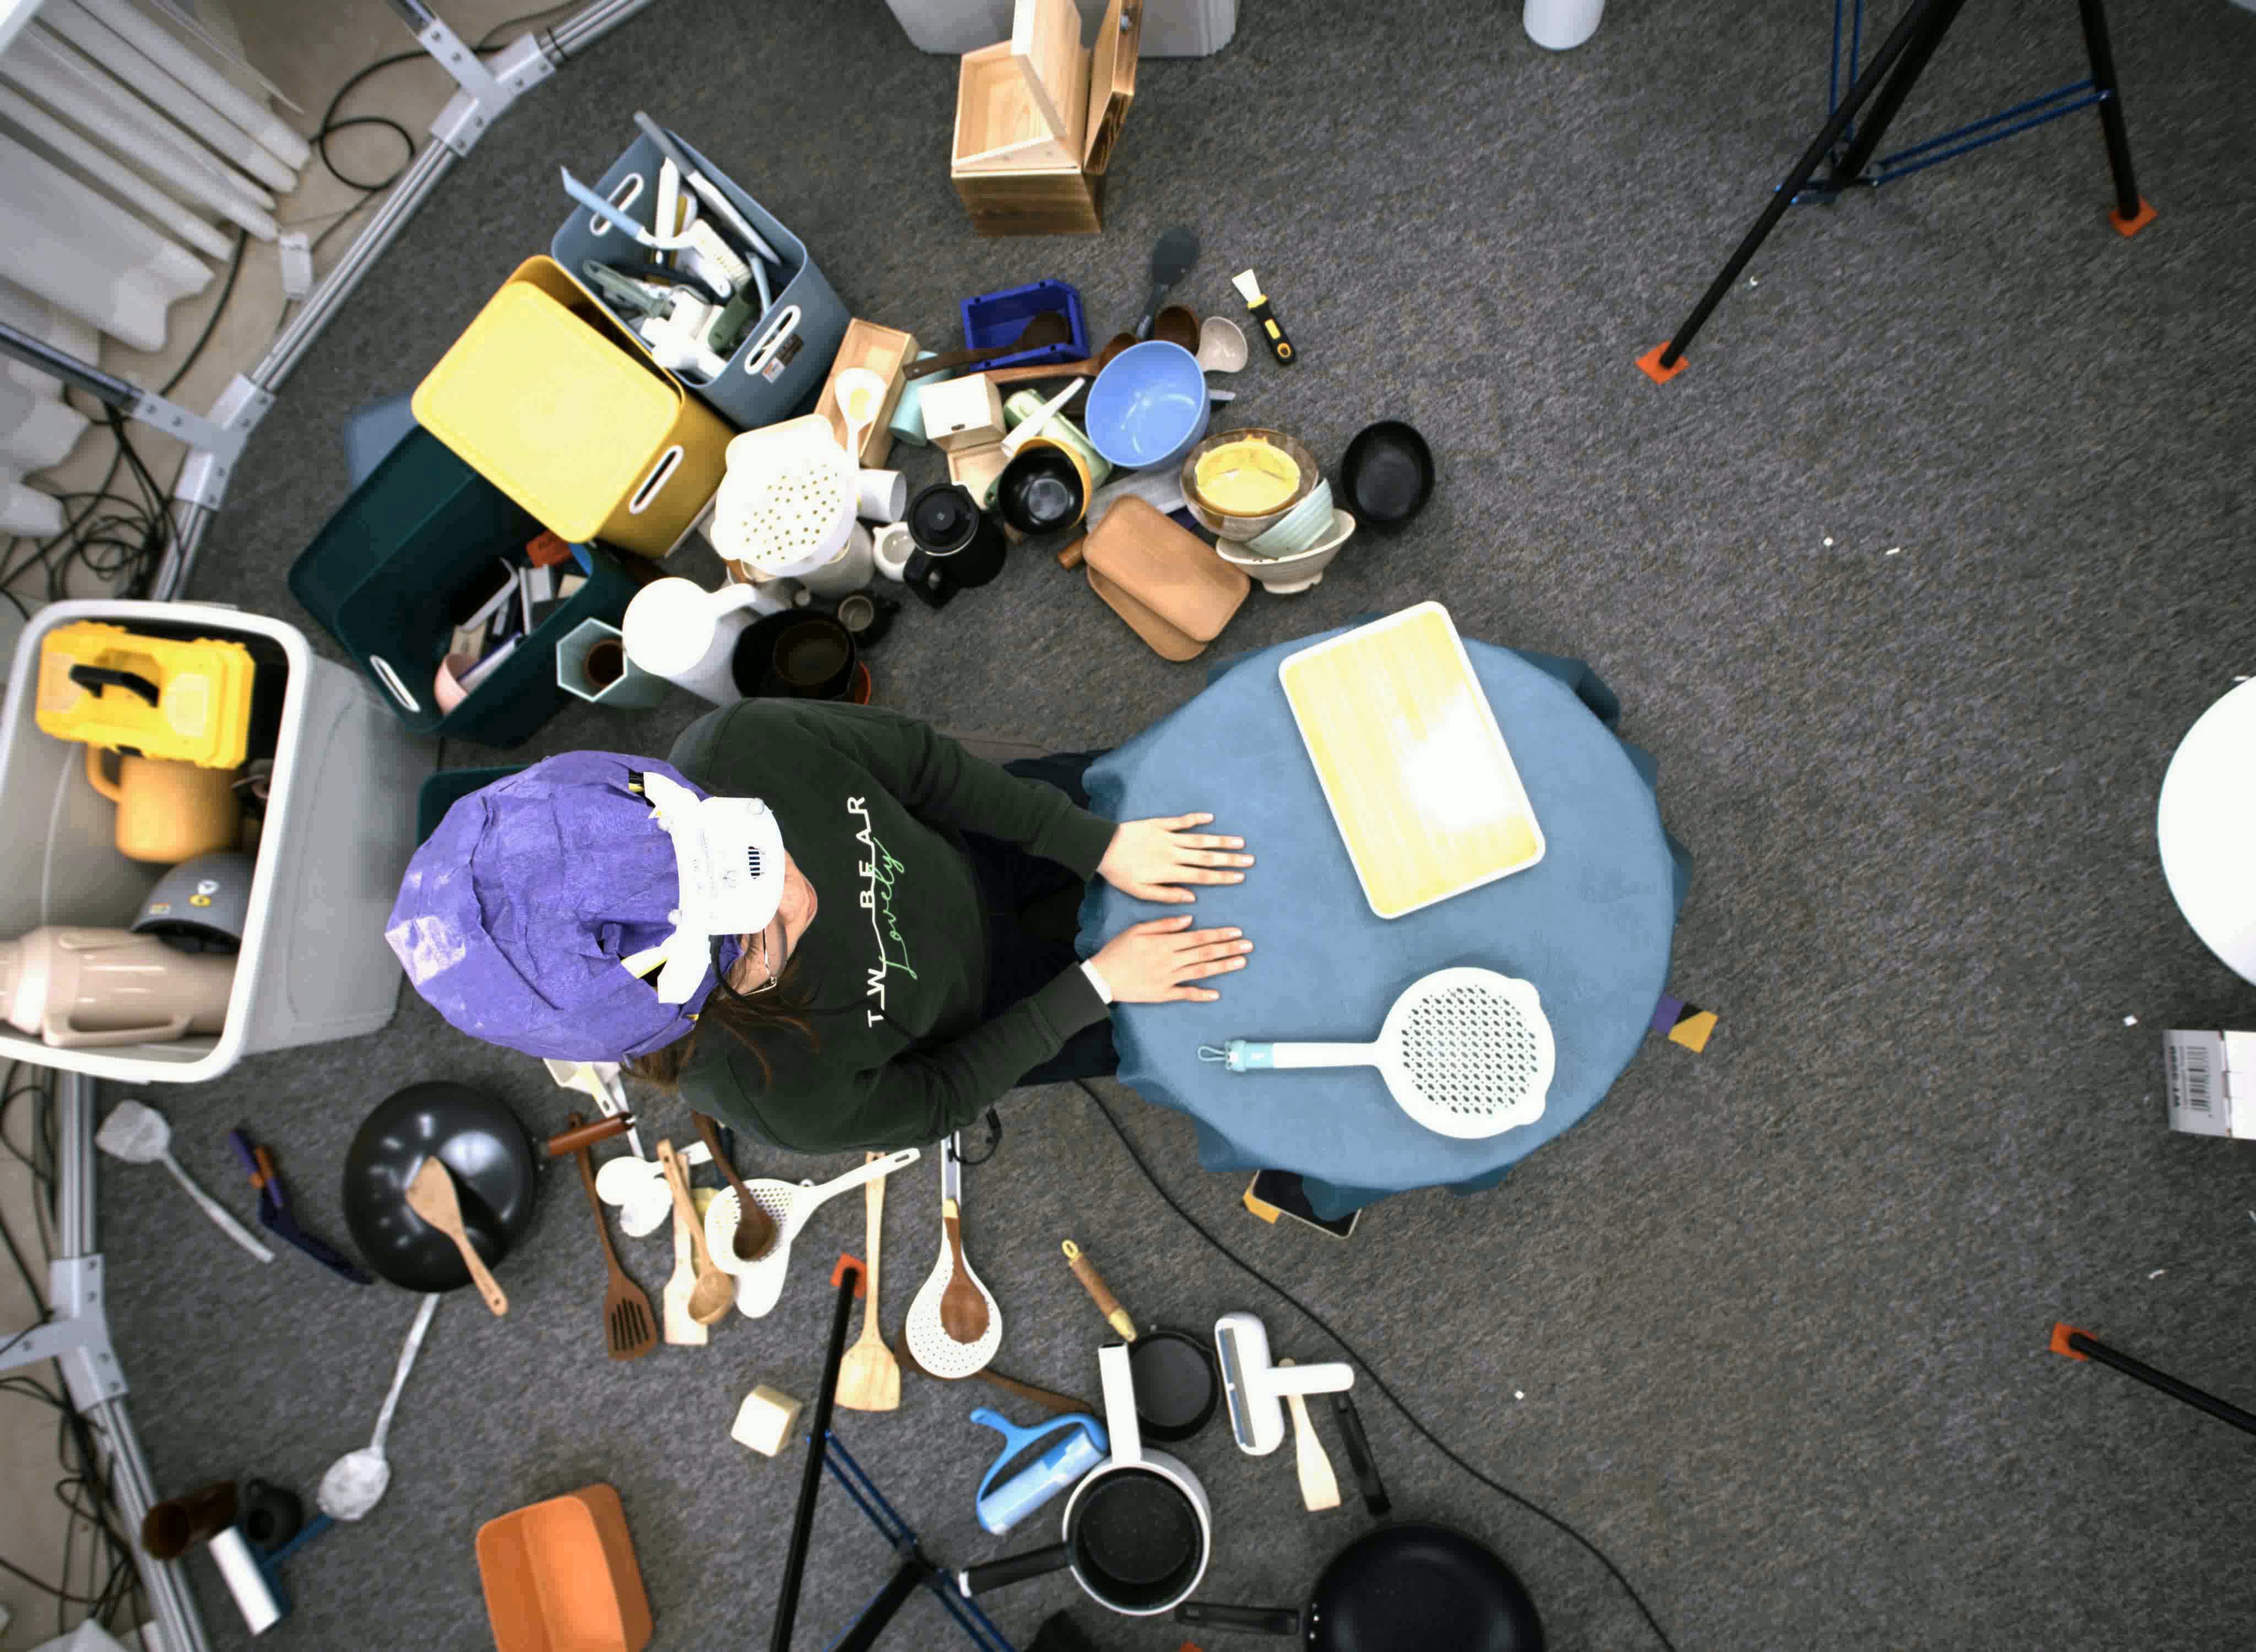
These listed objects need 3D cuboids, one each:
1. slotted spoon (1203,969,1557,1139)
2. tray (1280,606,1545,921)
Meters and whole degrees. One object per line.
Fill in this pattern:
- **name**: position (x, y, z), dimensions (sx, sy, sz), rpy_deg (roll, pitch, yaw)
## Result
- **slotted spoon**: position (0.252, 0.234, 1.424), dimensions (0.360, 0.075, 0.168), rpy_deg (-3, 85, 10)
- **tray**: position (0.298, -0.068, 1.456), dimensions (0.192, 0.027, 0.298), rpy_deg (-21, 82, 8)
